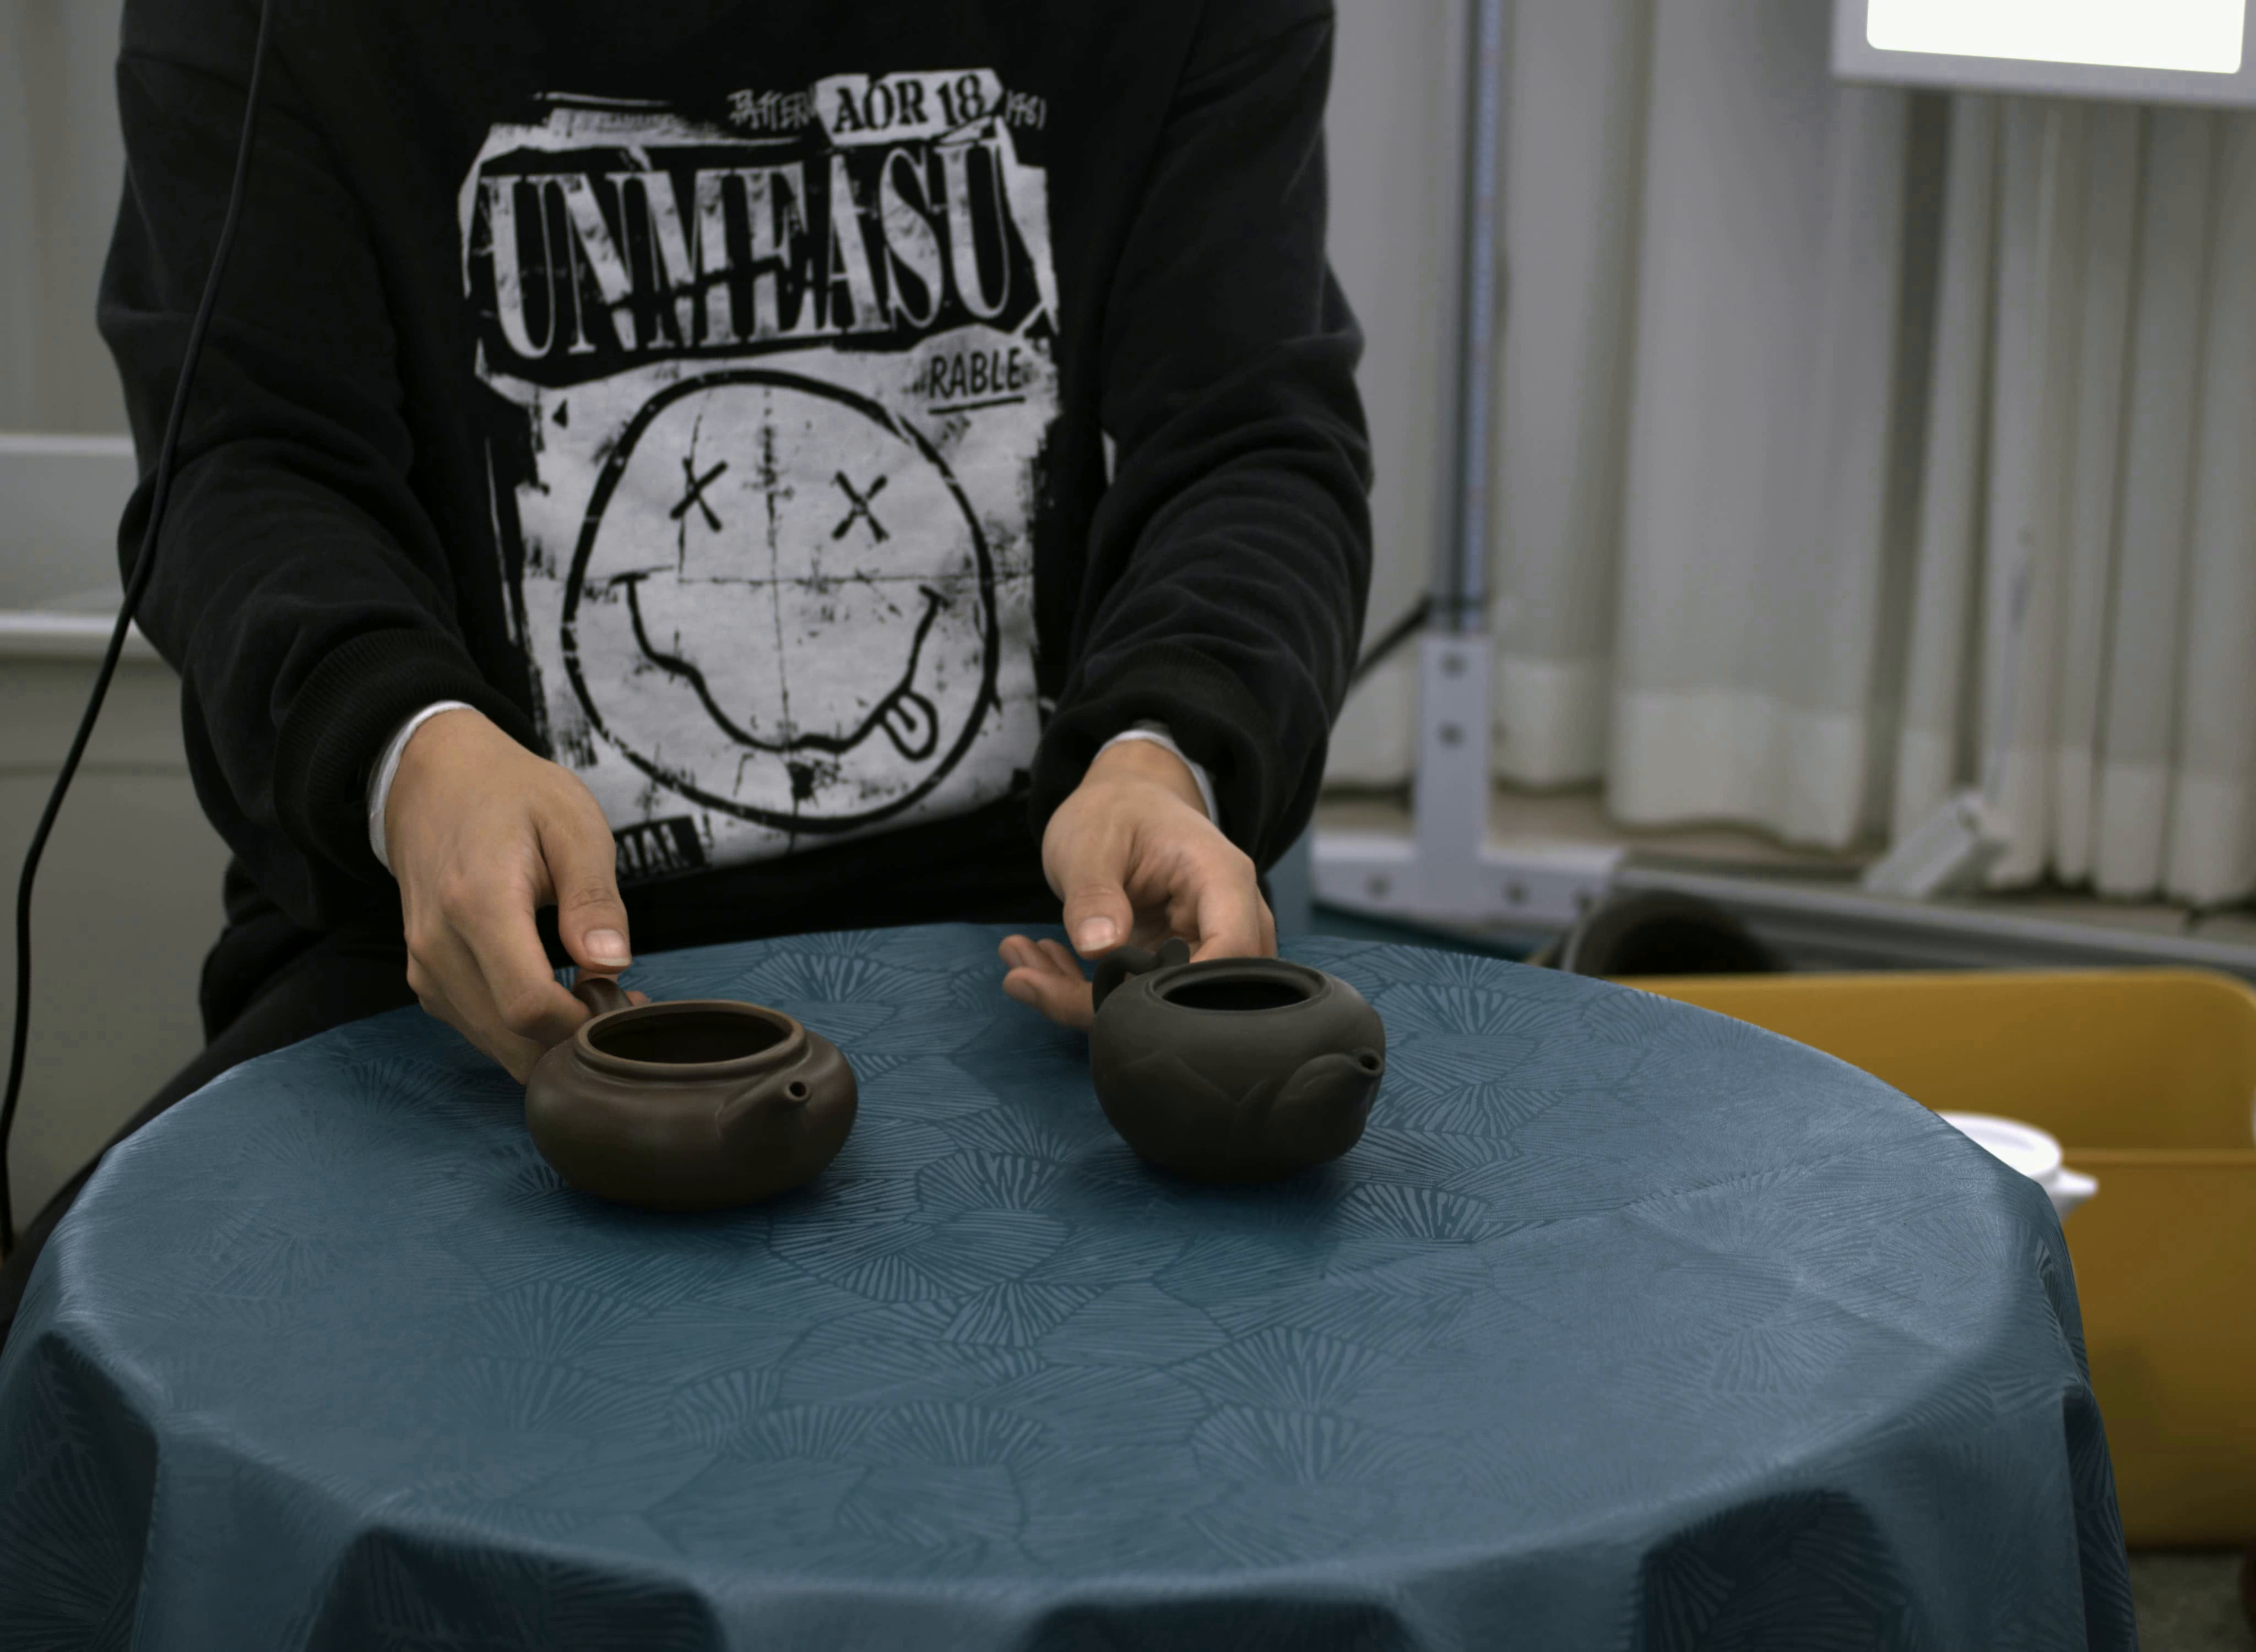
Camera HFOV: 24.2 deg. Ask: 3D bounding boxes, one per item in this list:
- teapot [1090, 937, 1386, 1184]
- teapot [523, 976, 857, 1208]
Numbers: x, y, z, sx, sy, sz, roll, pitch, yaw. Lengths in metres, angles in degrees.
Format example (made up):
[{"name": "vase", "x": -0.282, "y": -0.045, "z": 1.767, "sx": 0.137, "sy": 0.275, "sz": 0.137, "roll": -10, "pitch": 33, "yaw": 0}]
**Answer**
[{"name": "teapot", "x": 0.033, "y": 0.073, "z": 1.644, "sx": 0.093, "sy": 0.065, "sz": 0.152, "roll": -8, "pitch": 18, "yaw": -32}, {"name": "teapot", "x": -0.137, "y": 0.082, "z": 1.624, "sx": 0.103, "sy": 0.054, "sz": 0.151, "roll": -9, "pitch": 18, "yaw": -37}]
